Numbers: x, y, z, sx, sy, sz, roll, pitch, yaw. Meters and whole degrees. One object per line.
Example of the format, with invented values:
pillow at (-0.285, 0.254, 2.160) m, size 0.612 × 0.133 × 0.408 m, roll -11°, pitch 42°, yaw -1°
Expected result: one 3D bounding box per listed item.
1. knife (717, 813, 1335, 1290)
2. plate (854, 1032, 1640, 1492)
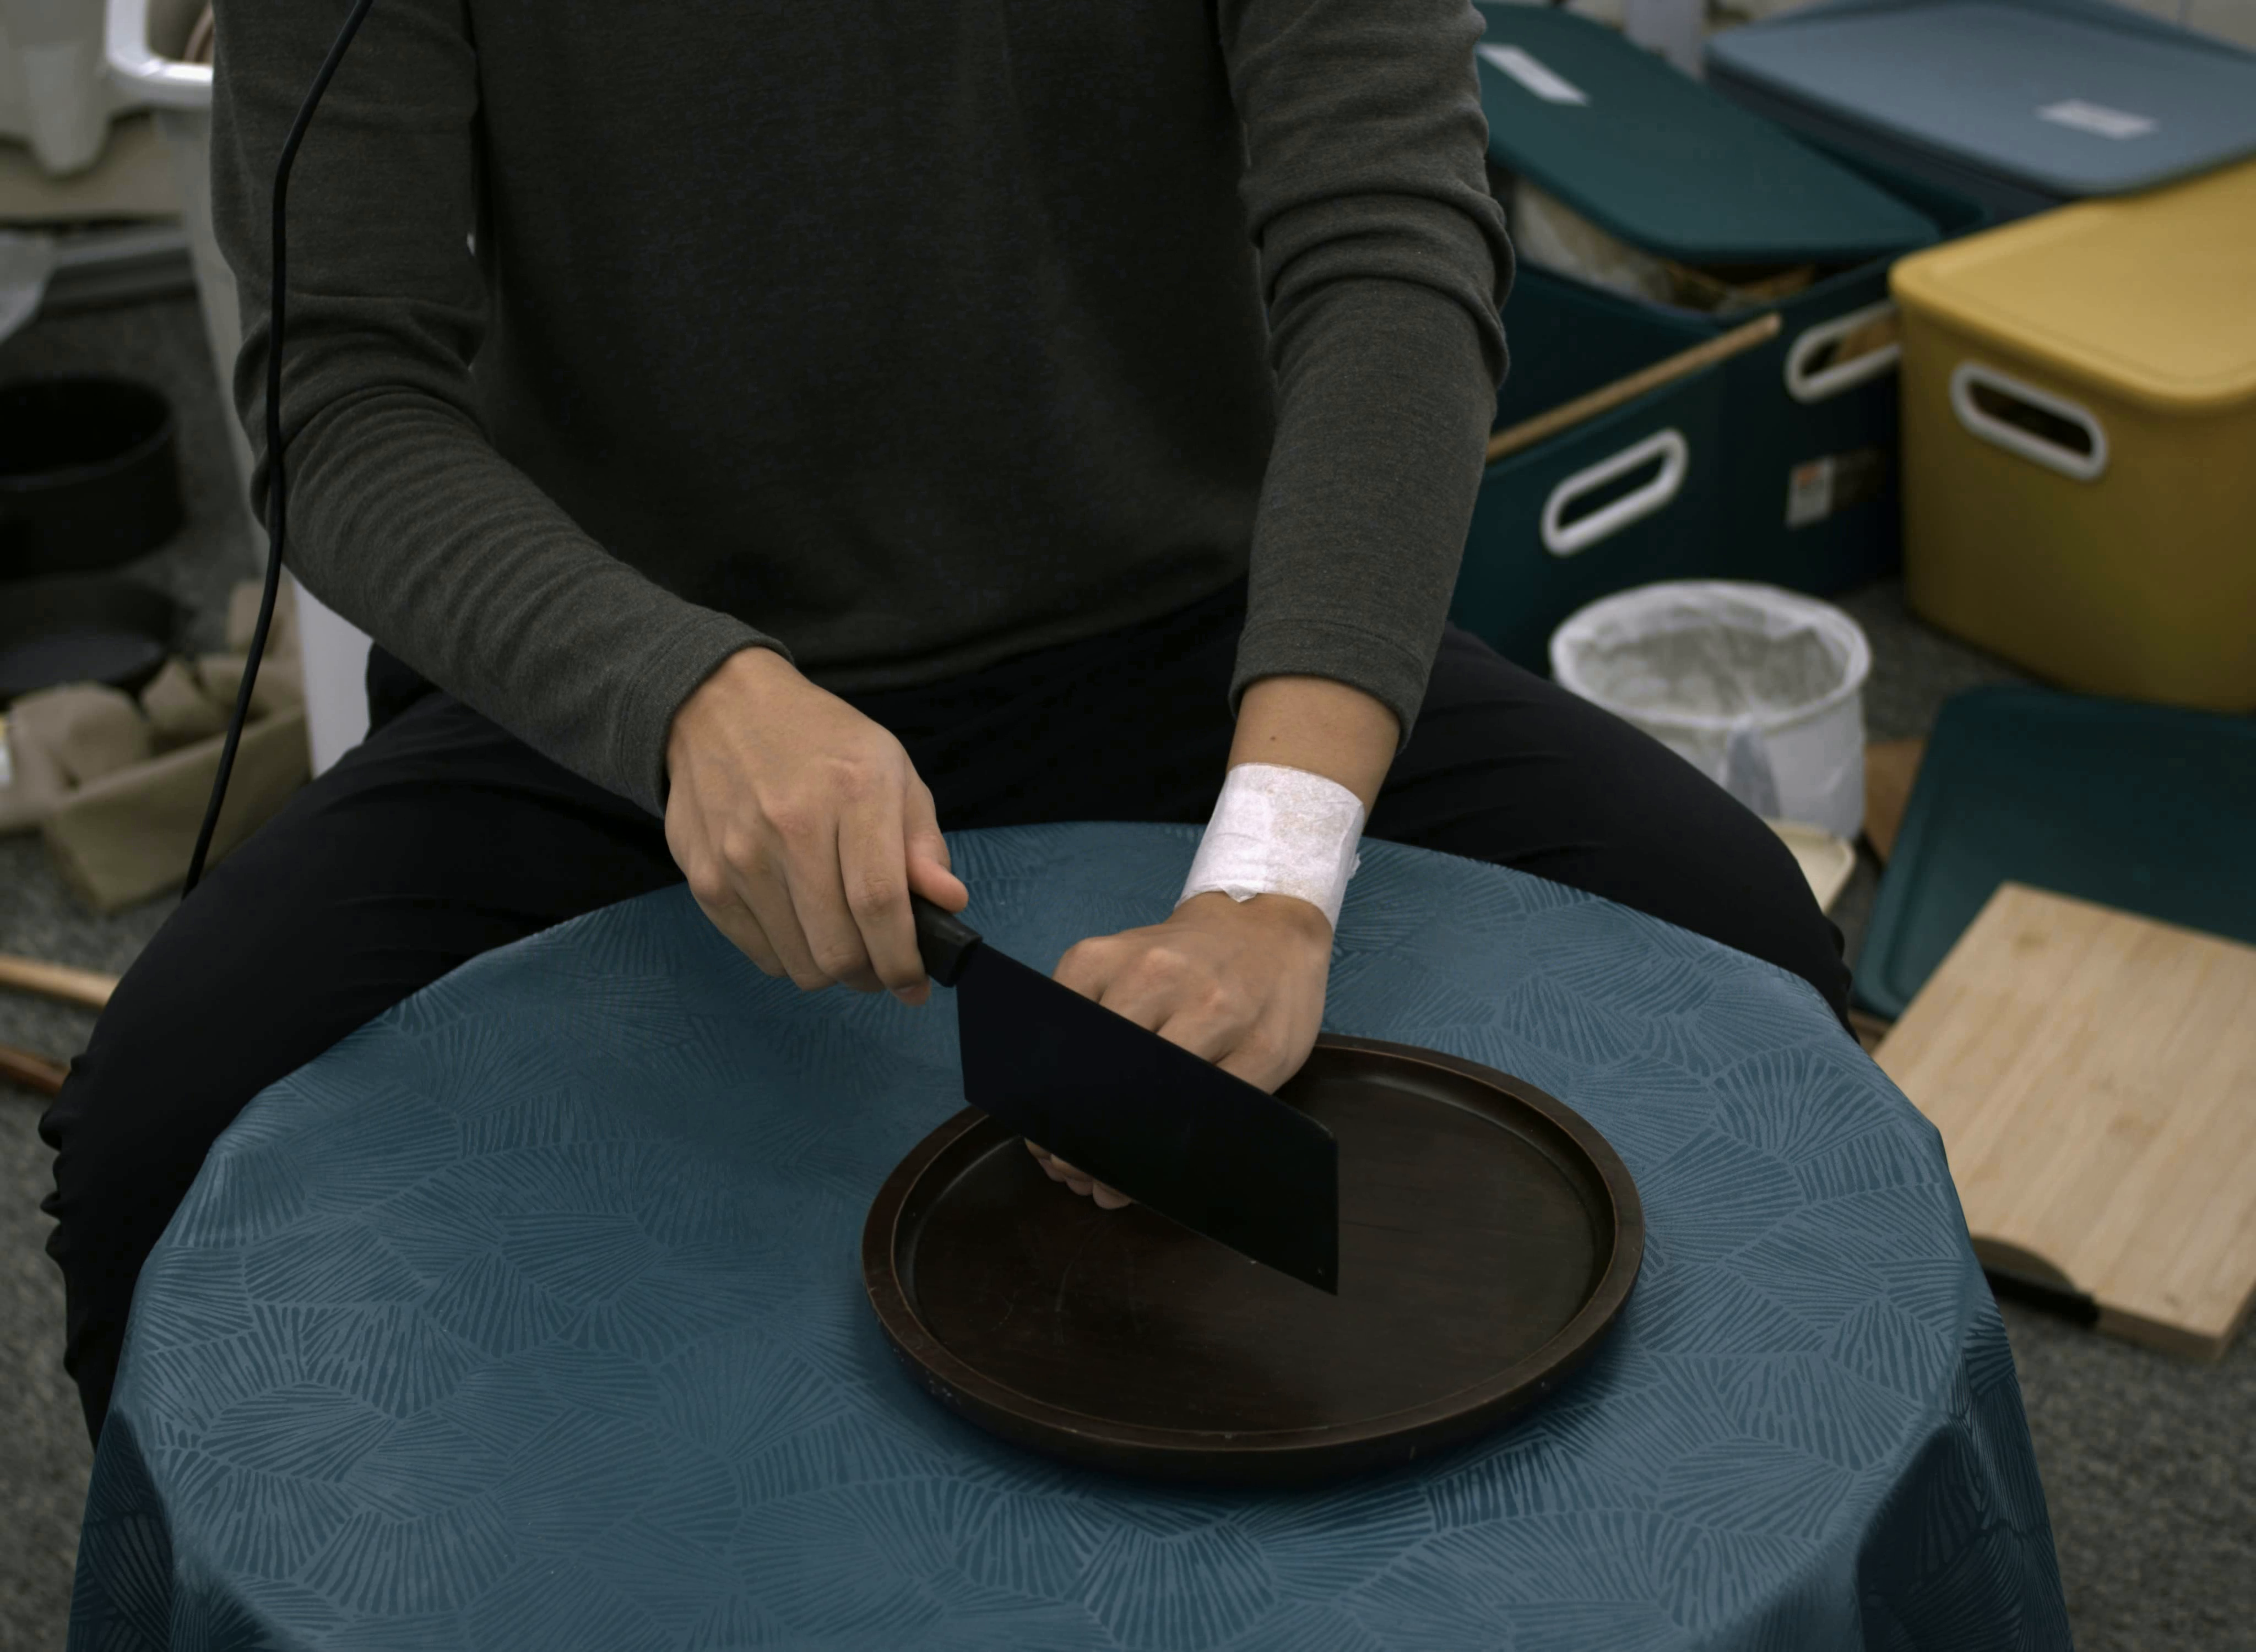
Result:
knife at (-0.035, 0.066, 1.813) m, size 0.021 × 0.080 × 0.303 m, roll -21°, pitch 37°, yaw -36°
plate at (0.038, 0.137, 1.803) m, size 0.253 × 0.029 × 0.259 m, roll -3°, pitch 28°, yaw 2°
